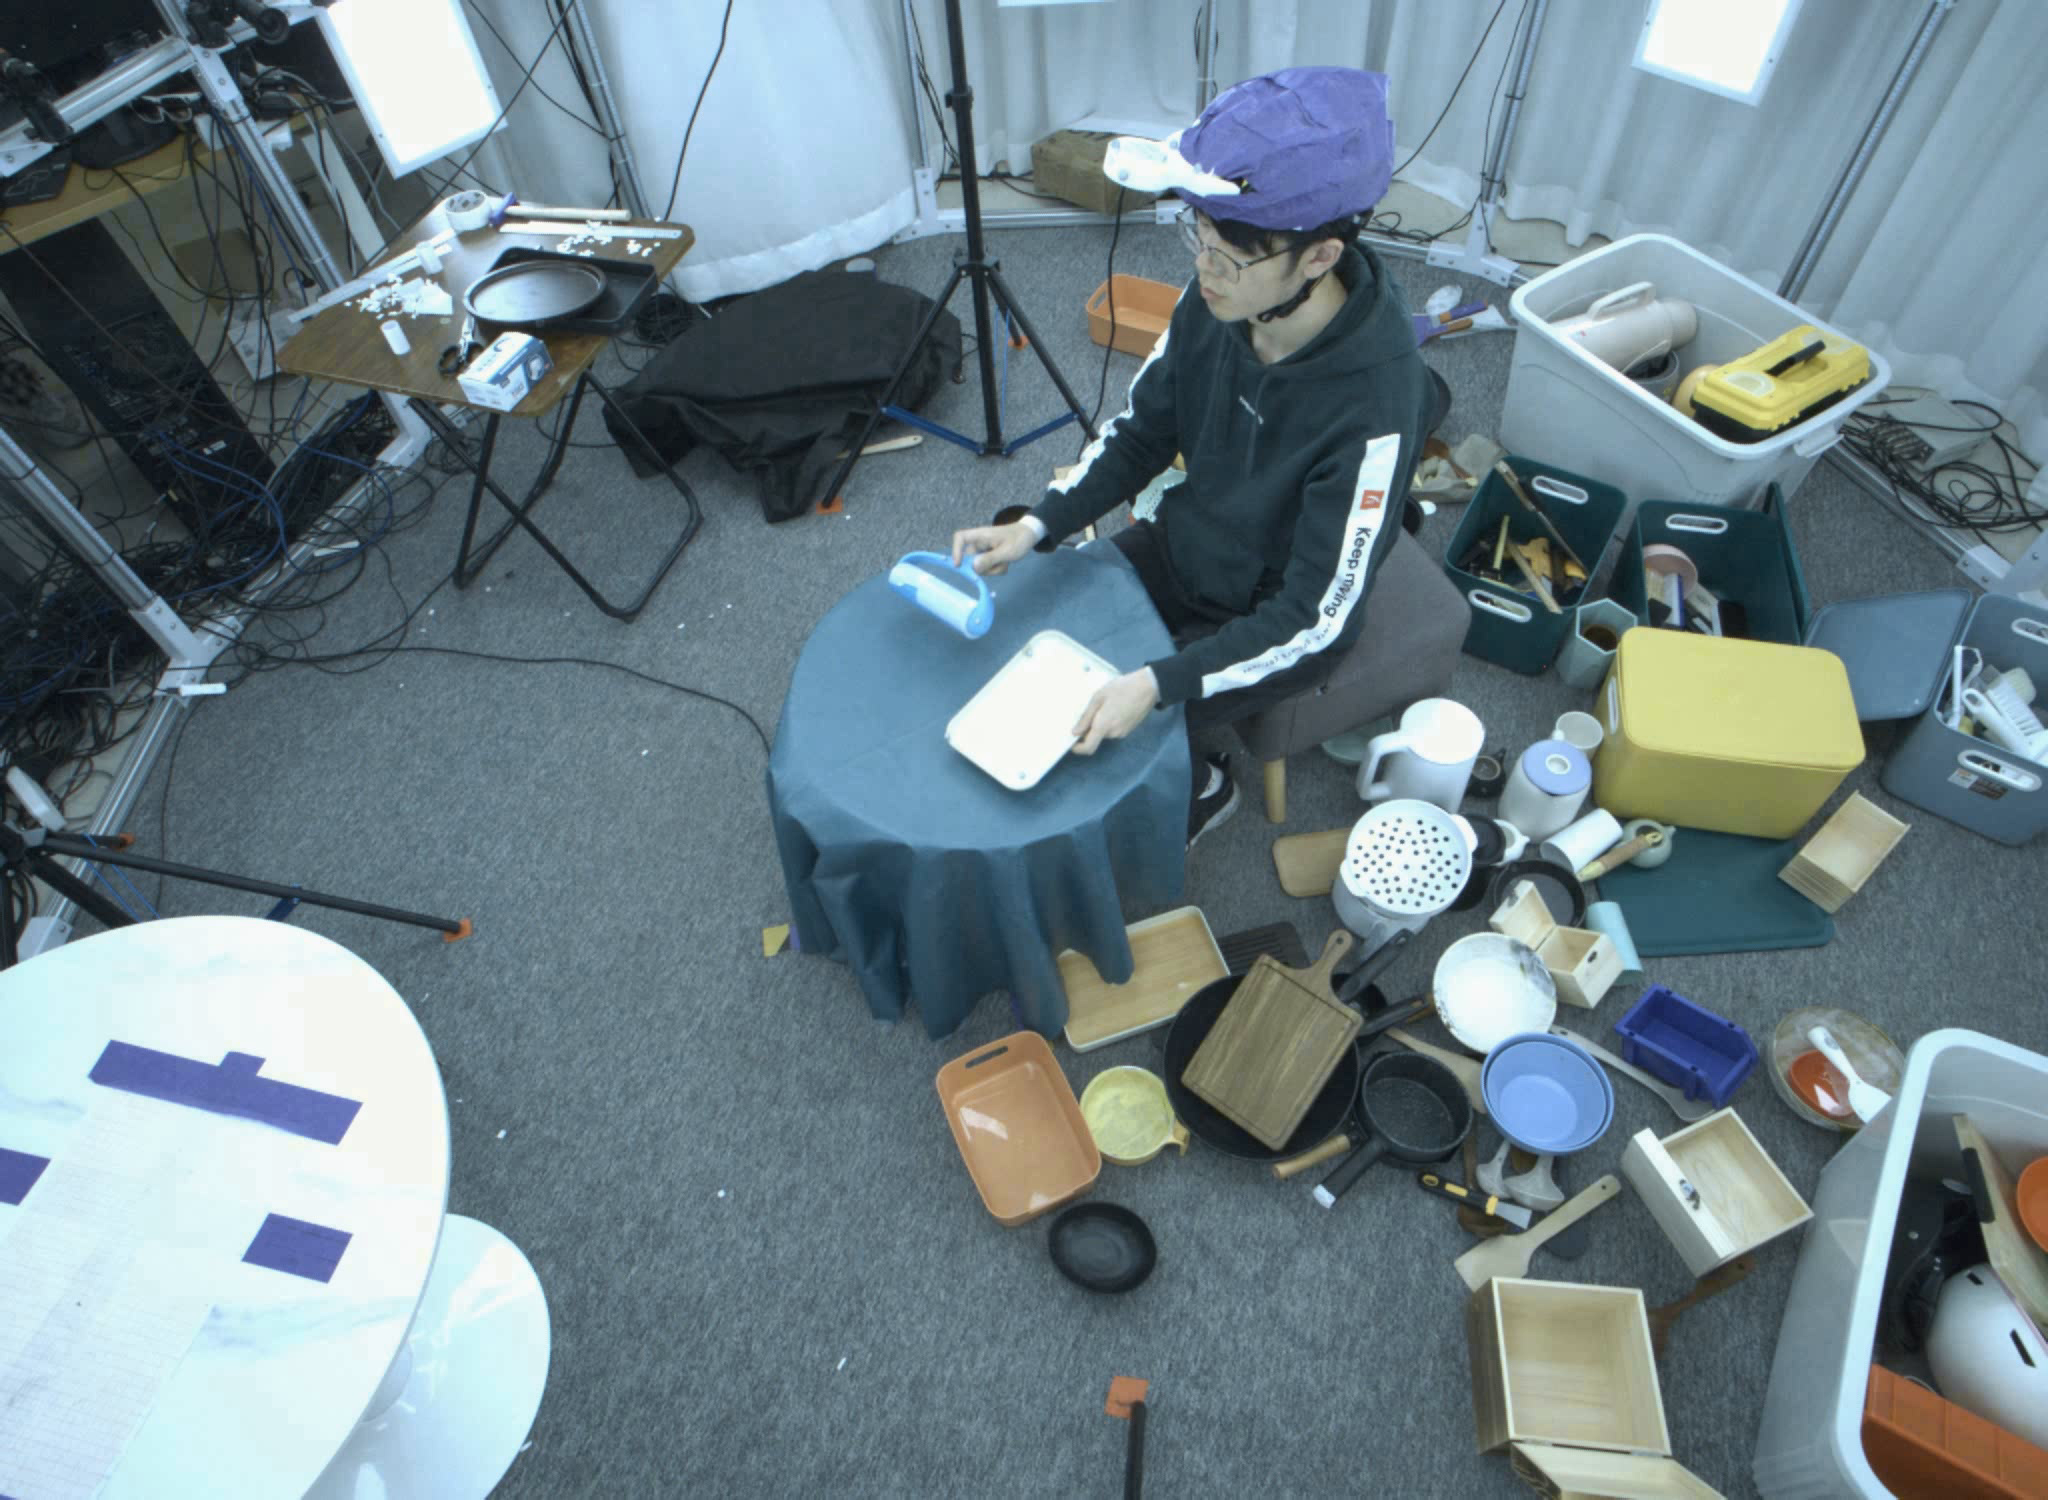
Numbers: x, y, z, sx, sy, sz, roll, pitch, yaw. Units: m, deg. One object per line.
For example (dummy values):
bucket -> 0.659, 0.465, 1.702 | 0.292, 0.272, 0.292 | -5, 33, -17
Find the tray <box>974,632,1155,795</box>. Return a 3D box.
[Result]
tray -> 0.057, -0.053, 1.753 | 0.168, 0.018, 0.240 | 39, 74, 24

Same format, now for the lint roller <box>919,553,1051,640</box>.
lint roller -> -0.038, -0.259, 1.848 | 0.181, 0.069, 0.223 | -40, 46, -22
